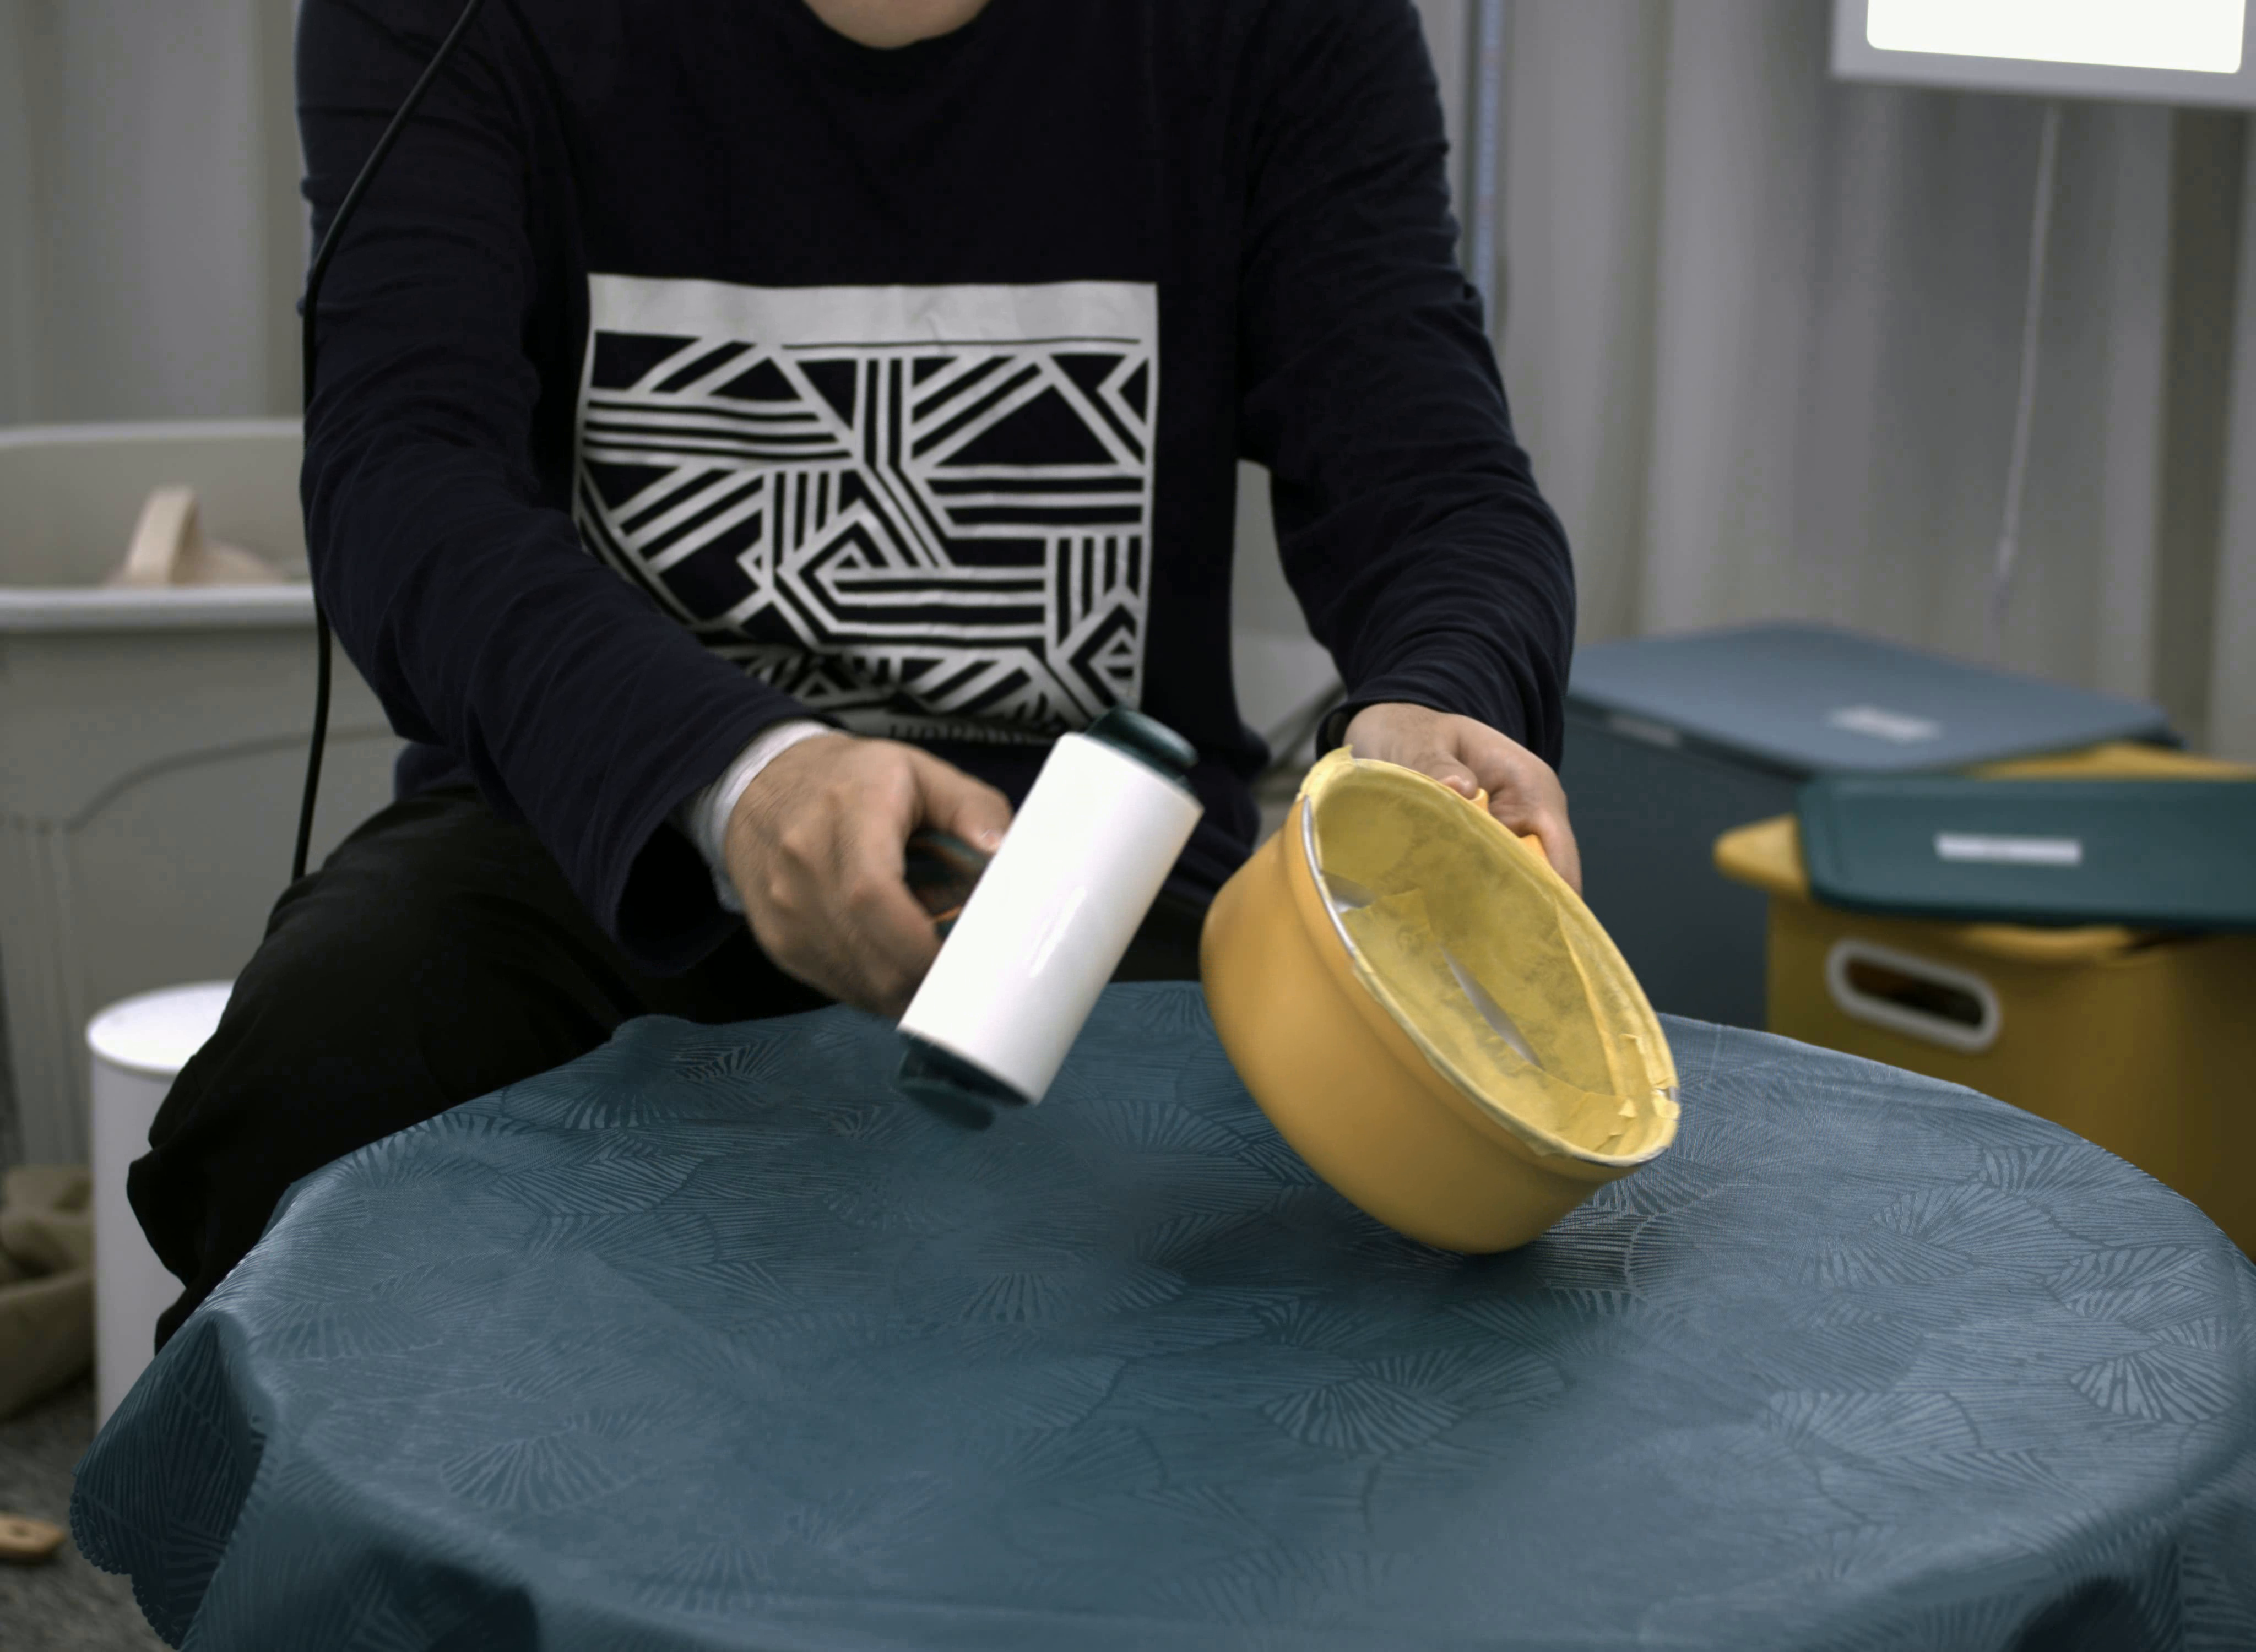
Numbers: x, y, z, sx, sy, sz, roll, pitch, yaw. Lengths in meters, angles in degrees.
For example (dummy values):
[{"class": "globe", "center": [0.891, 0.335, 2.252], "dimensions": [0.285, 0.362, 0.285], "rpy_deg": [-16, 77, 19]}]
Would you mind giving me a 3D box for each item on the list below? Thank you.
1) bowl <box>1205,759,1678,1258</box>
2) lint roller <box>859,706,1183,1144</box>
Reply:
[{"class": "bowl", "center": [0.092, 0.053, 1.591], "dimensions": [0.154, 0.074, 0.178], "rpy_deg": [36, 28, -18]}, {"class": "lint roller", "center": [-0.056, 0.024, 1.586], "dimensions": [0.049, 0.134, 0.178], "rpy_deg": [33, -10, -26]}]
